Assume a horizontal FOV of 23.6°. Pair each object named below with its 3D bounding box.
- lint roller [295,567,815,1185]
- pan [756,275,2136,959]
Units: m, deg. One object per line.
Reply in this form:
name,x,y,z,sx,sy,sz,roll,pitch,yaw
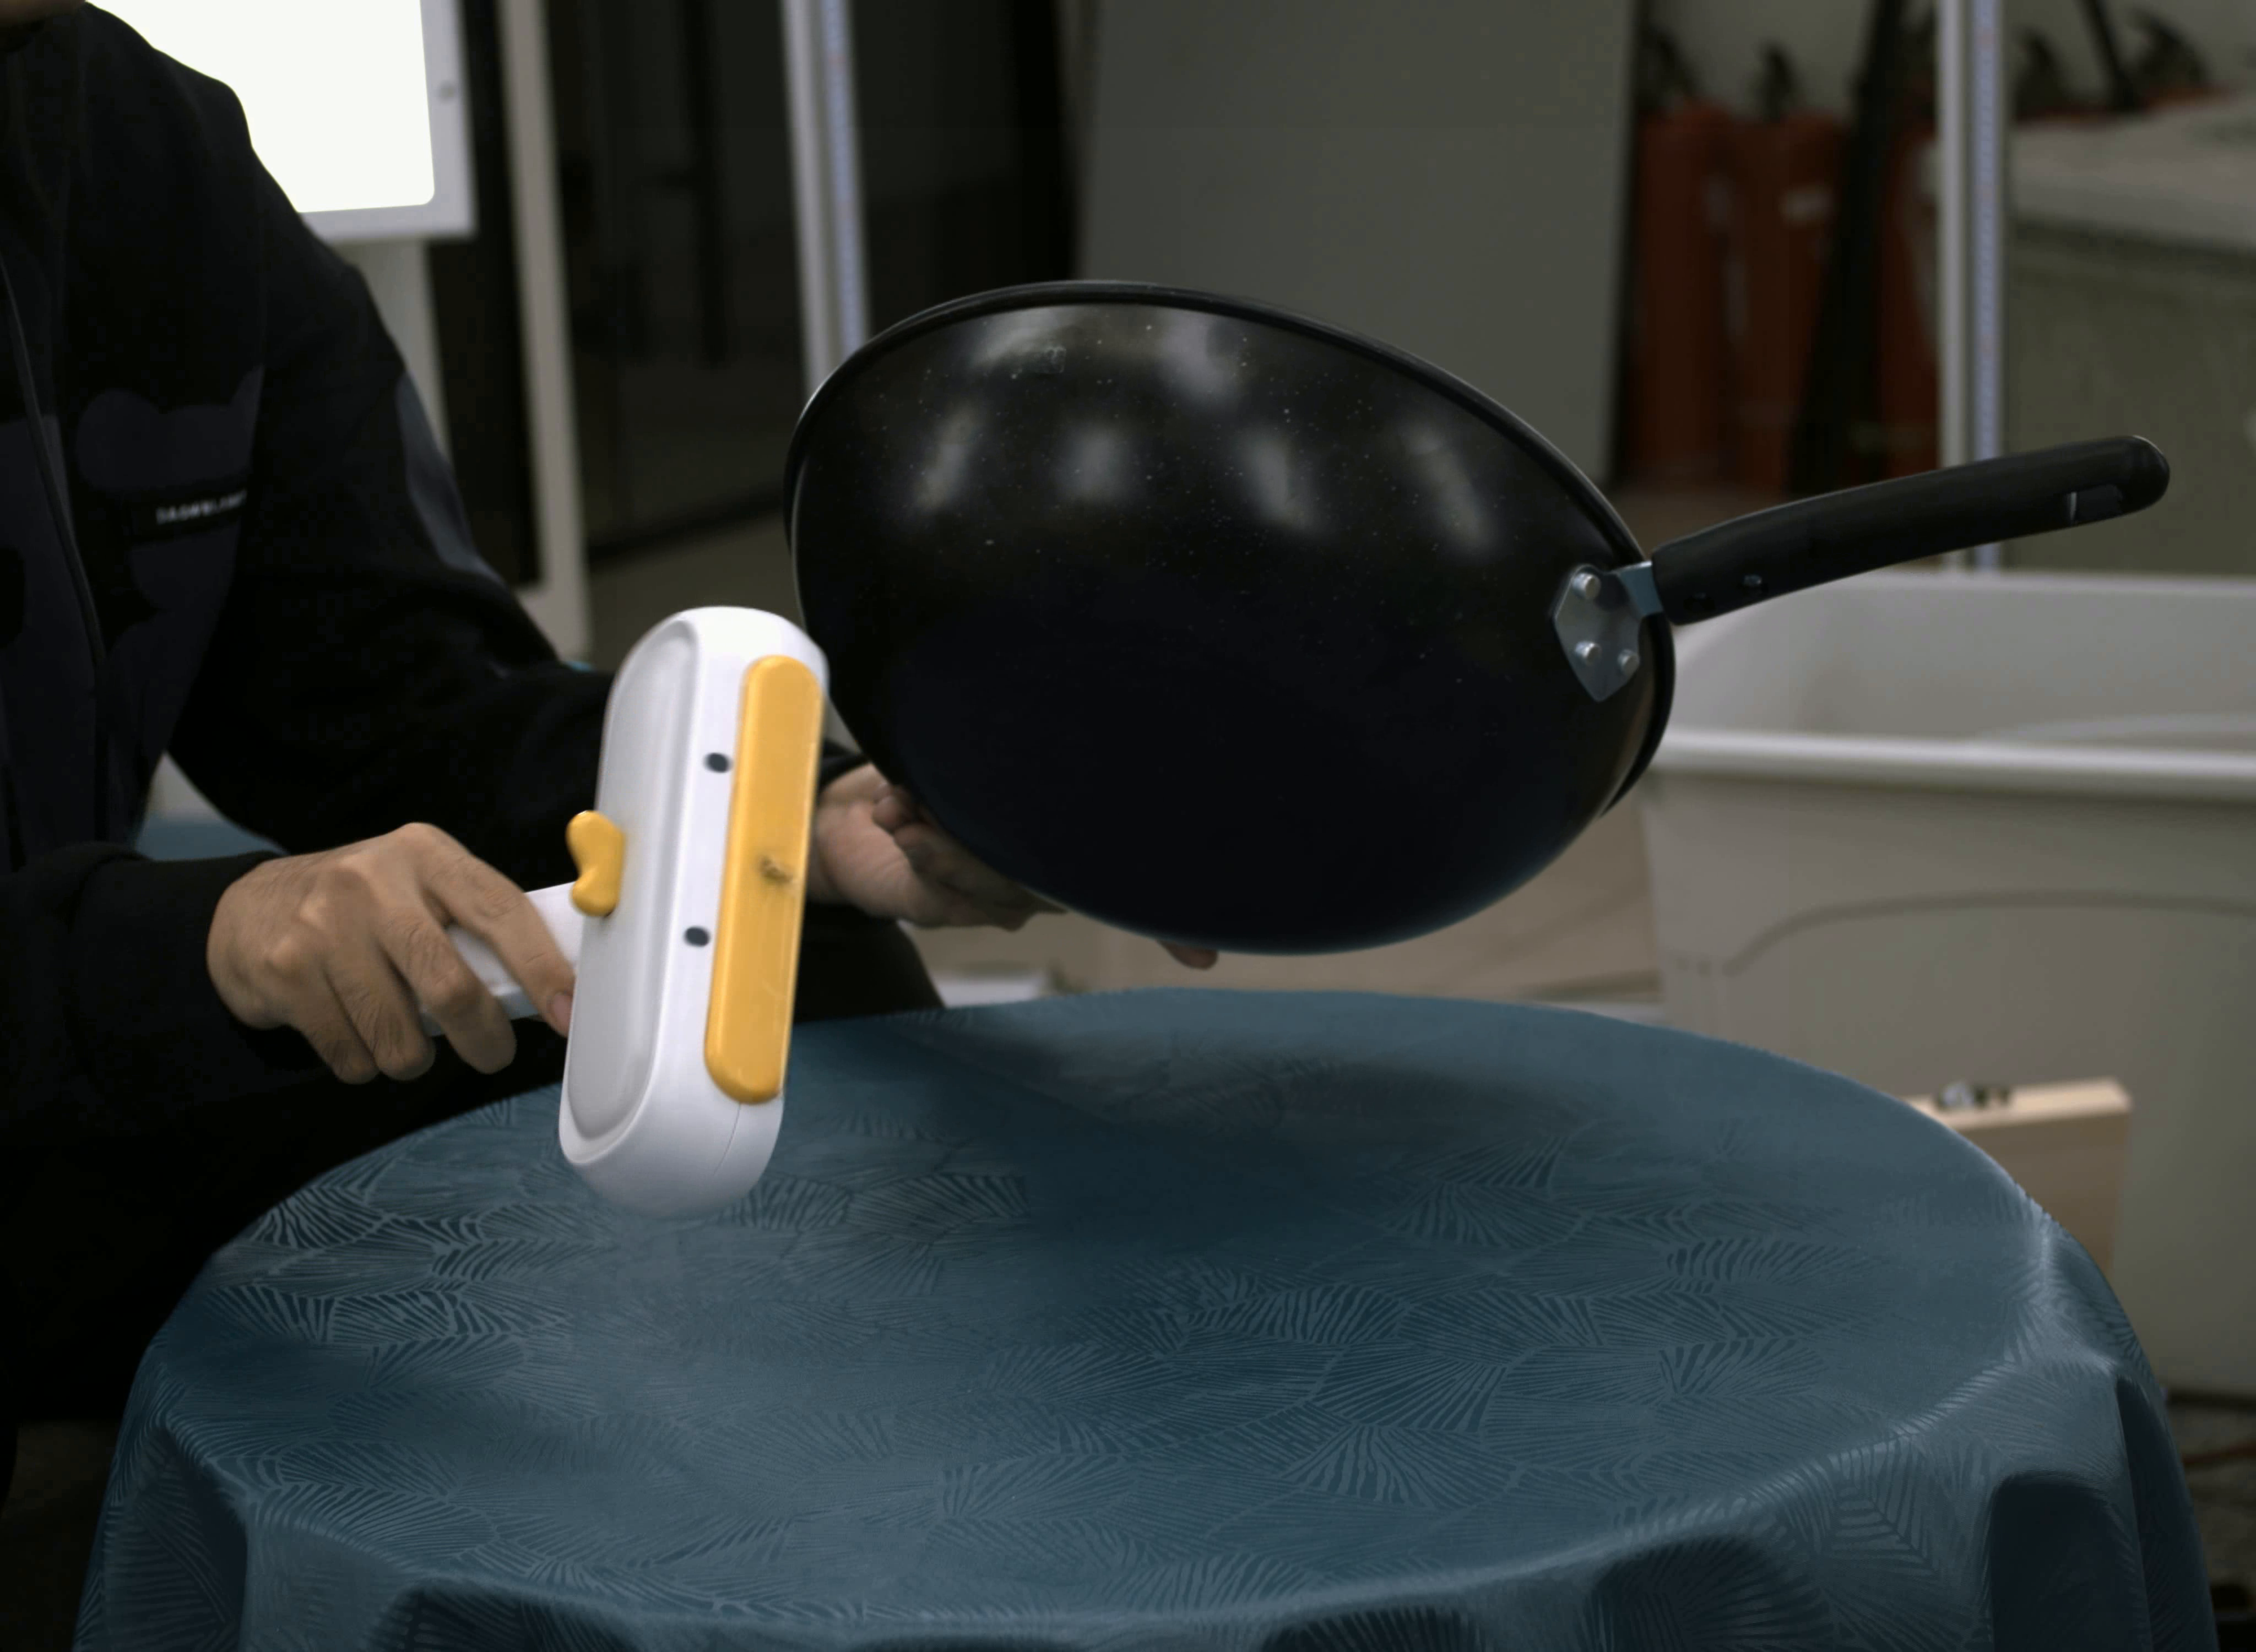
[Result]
lint roller,-0.172,0.031,1.634,0.072,0.195,0.194,24,-37,-38
pan,0.090,-0.060,1.742,0.478,0.308,0.112,-4,51,29
